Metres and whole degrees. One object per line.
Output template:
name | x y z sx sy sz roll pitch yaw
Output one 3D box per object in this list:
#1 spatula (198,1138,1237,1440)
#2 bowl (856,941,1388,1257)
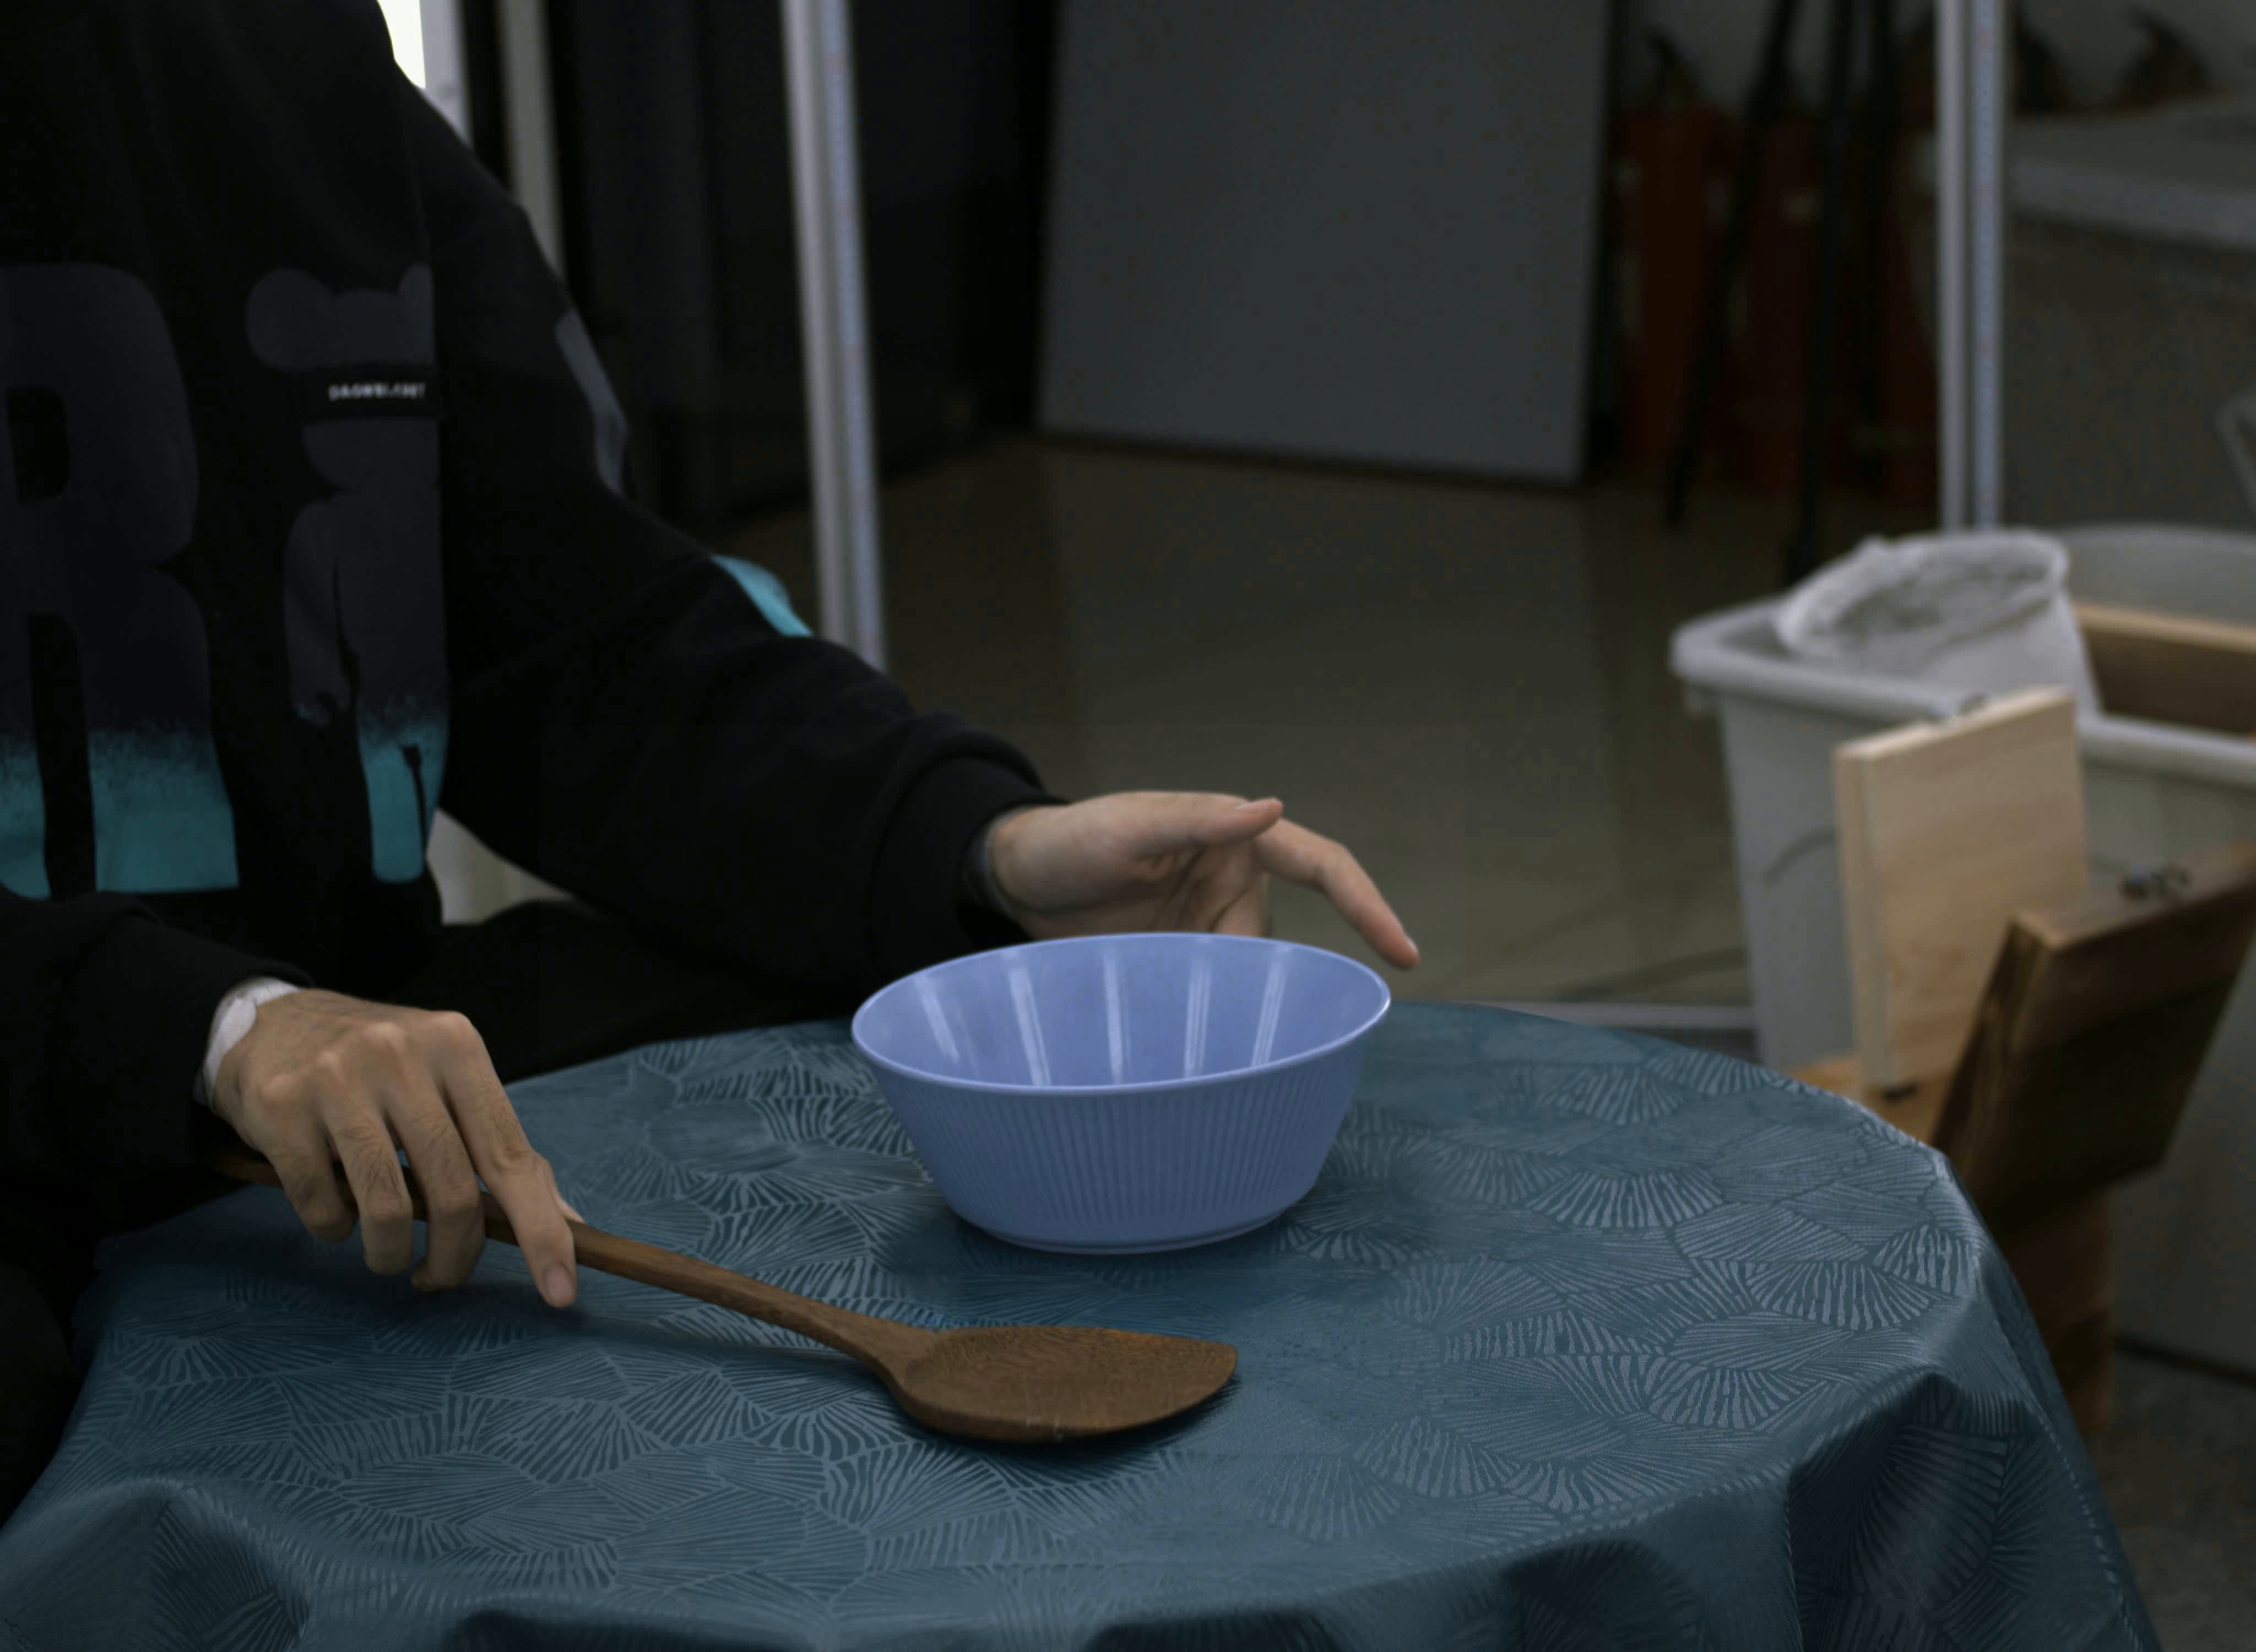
spatula | -0.141 0.138 1.659 0.388 0.016 0.094 12 16 33
bowl | 0.000 0.091 1.749 0.174 0.071 0.176 -4 13 0
